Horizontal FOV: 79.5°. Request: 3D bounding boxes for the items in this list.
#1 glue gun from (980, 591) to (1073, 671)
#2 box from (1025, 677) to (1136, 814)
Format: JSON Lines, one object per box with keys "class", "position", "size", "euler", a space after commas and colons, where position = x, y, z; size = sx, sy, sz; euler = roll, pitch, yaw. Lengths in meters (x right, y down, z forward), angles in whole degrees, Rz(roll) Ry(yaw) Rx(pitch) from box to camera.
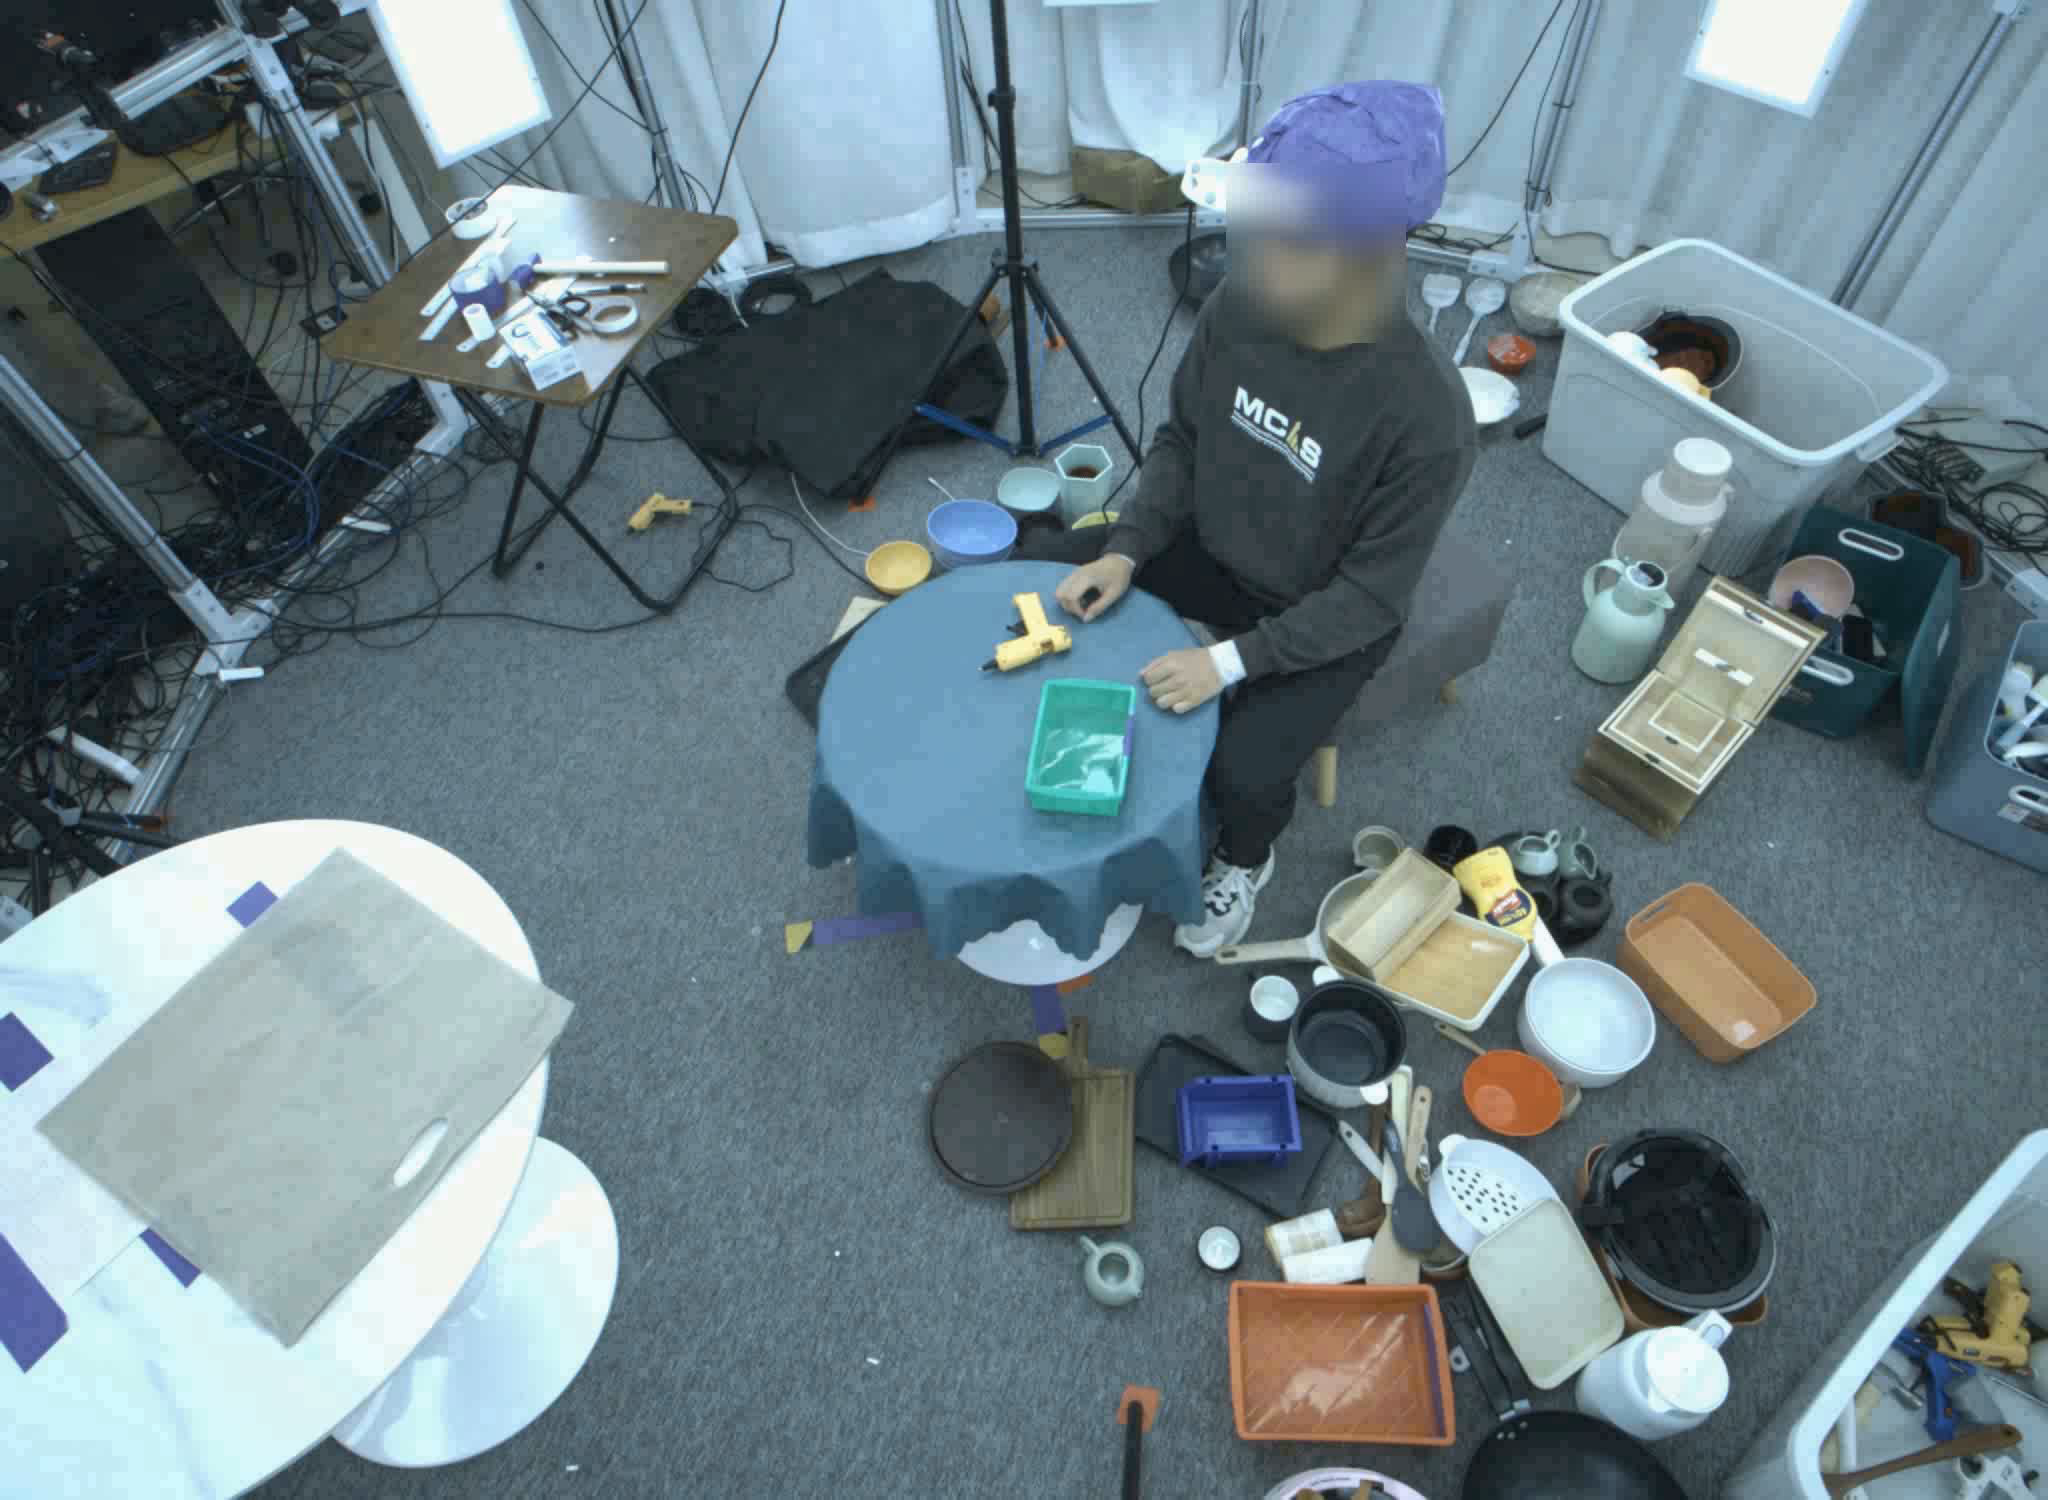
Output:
{"class": "glue gun", "position": [-0.018, -0.178, 1.899], "size": [0.152, 0.031, 0.130], "euler": [-24, 55, -15]}
{"class": "box", "position": [0.082, -0.004, 1.746], "size": [0.138, 0.066, 0.209], "euler": [6, 53, 4]}
